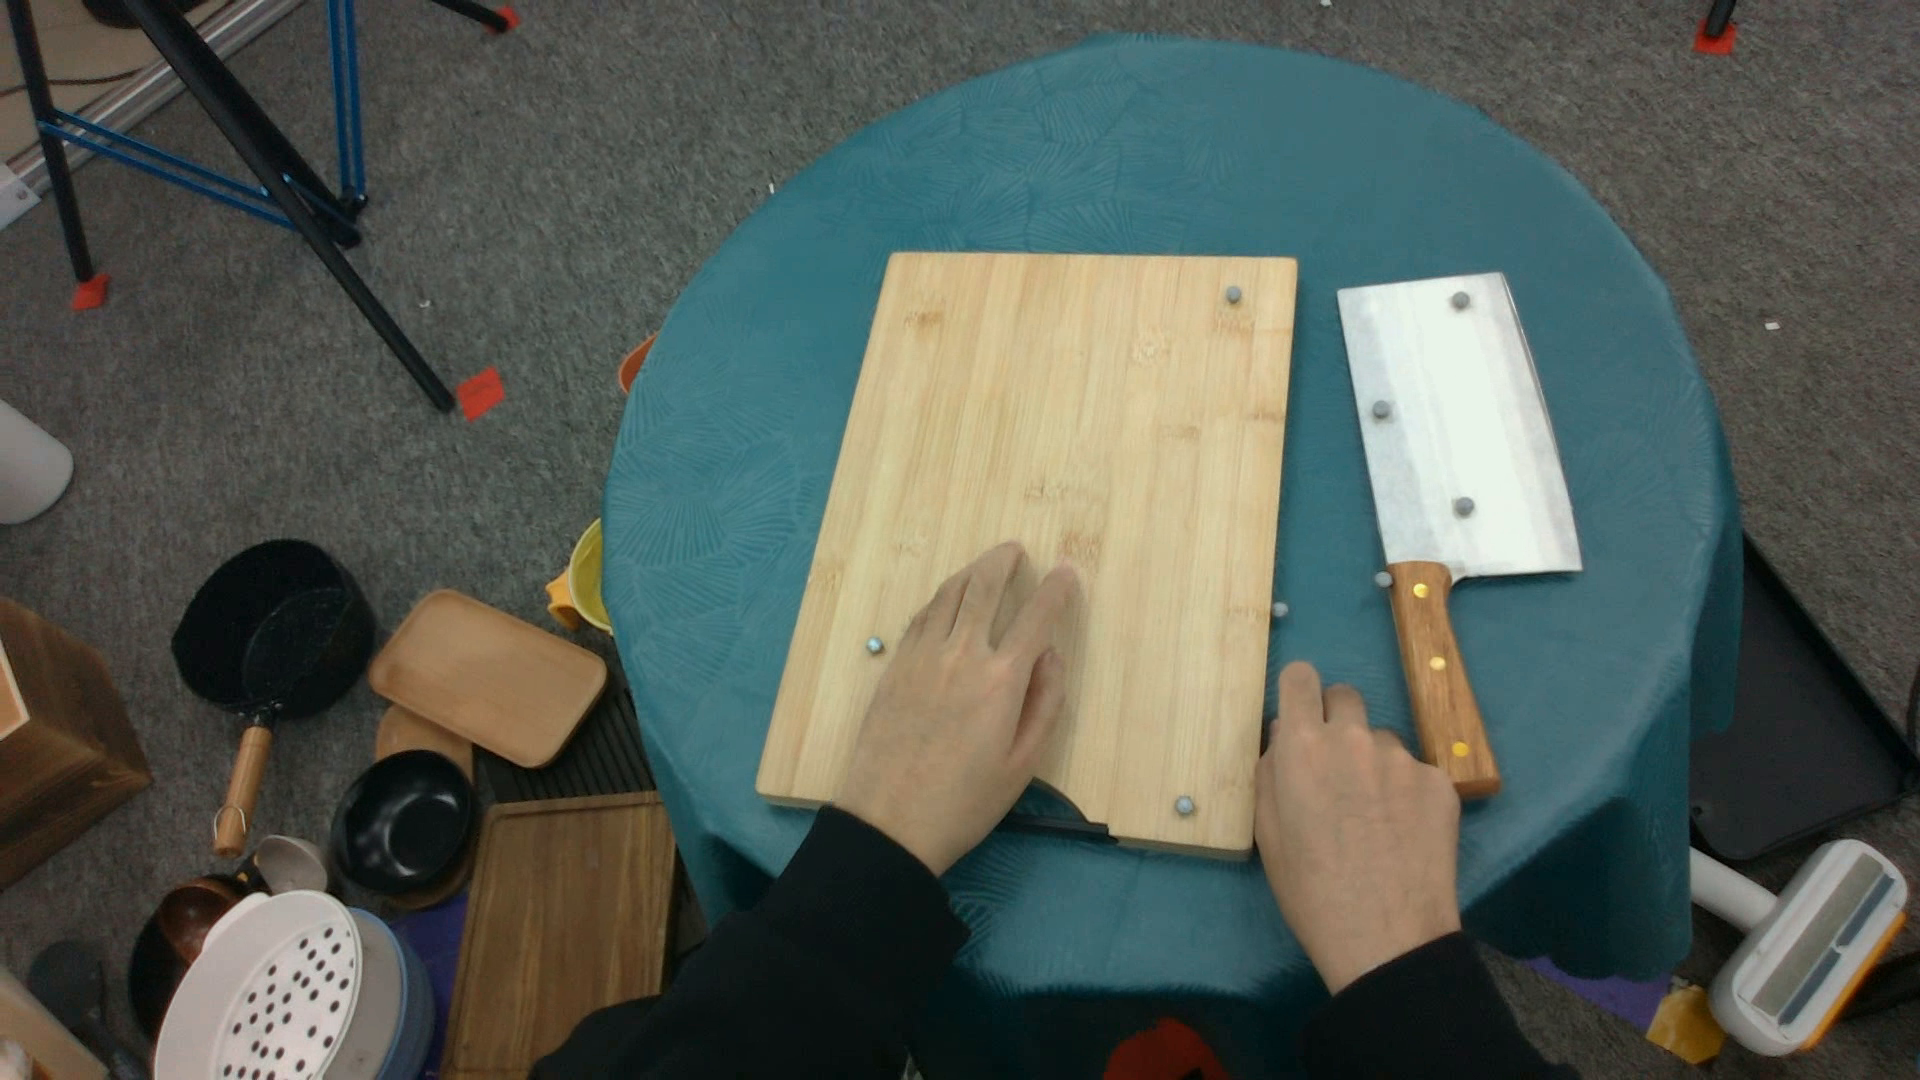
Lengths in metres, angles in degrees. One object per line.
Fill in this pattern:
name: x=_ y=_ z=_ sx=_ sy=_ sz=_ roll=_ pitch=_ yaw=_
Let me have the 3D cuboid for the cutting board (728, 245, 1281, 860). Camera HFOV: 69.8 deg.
cutting board: x=0.035 y=-0.015 z=0.725 sx=0.250 sy=0.023 sz=0.350 roll=2 pitch=61 yaw=13

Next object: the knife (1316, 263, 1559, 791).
knife: x=0.244 y=-0.022 z=0.689 sx=0.093 sy=0.021 sz=0.307 roll=-5 pitch=58 yaw=7
